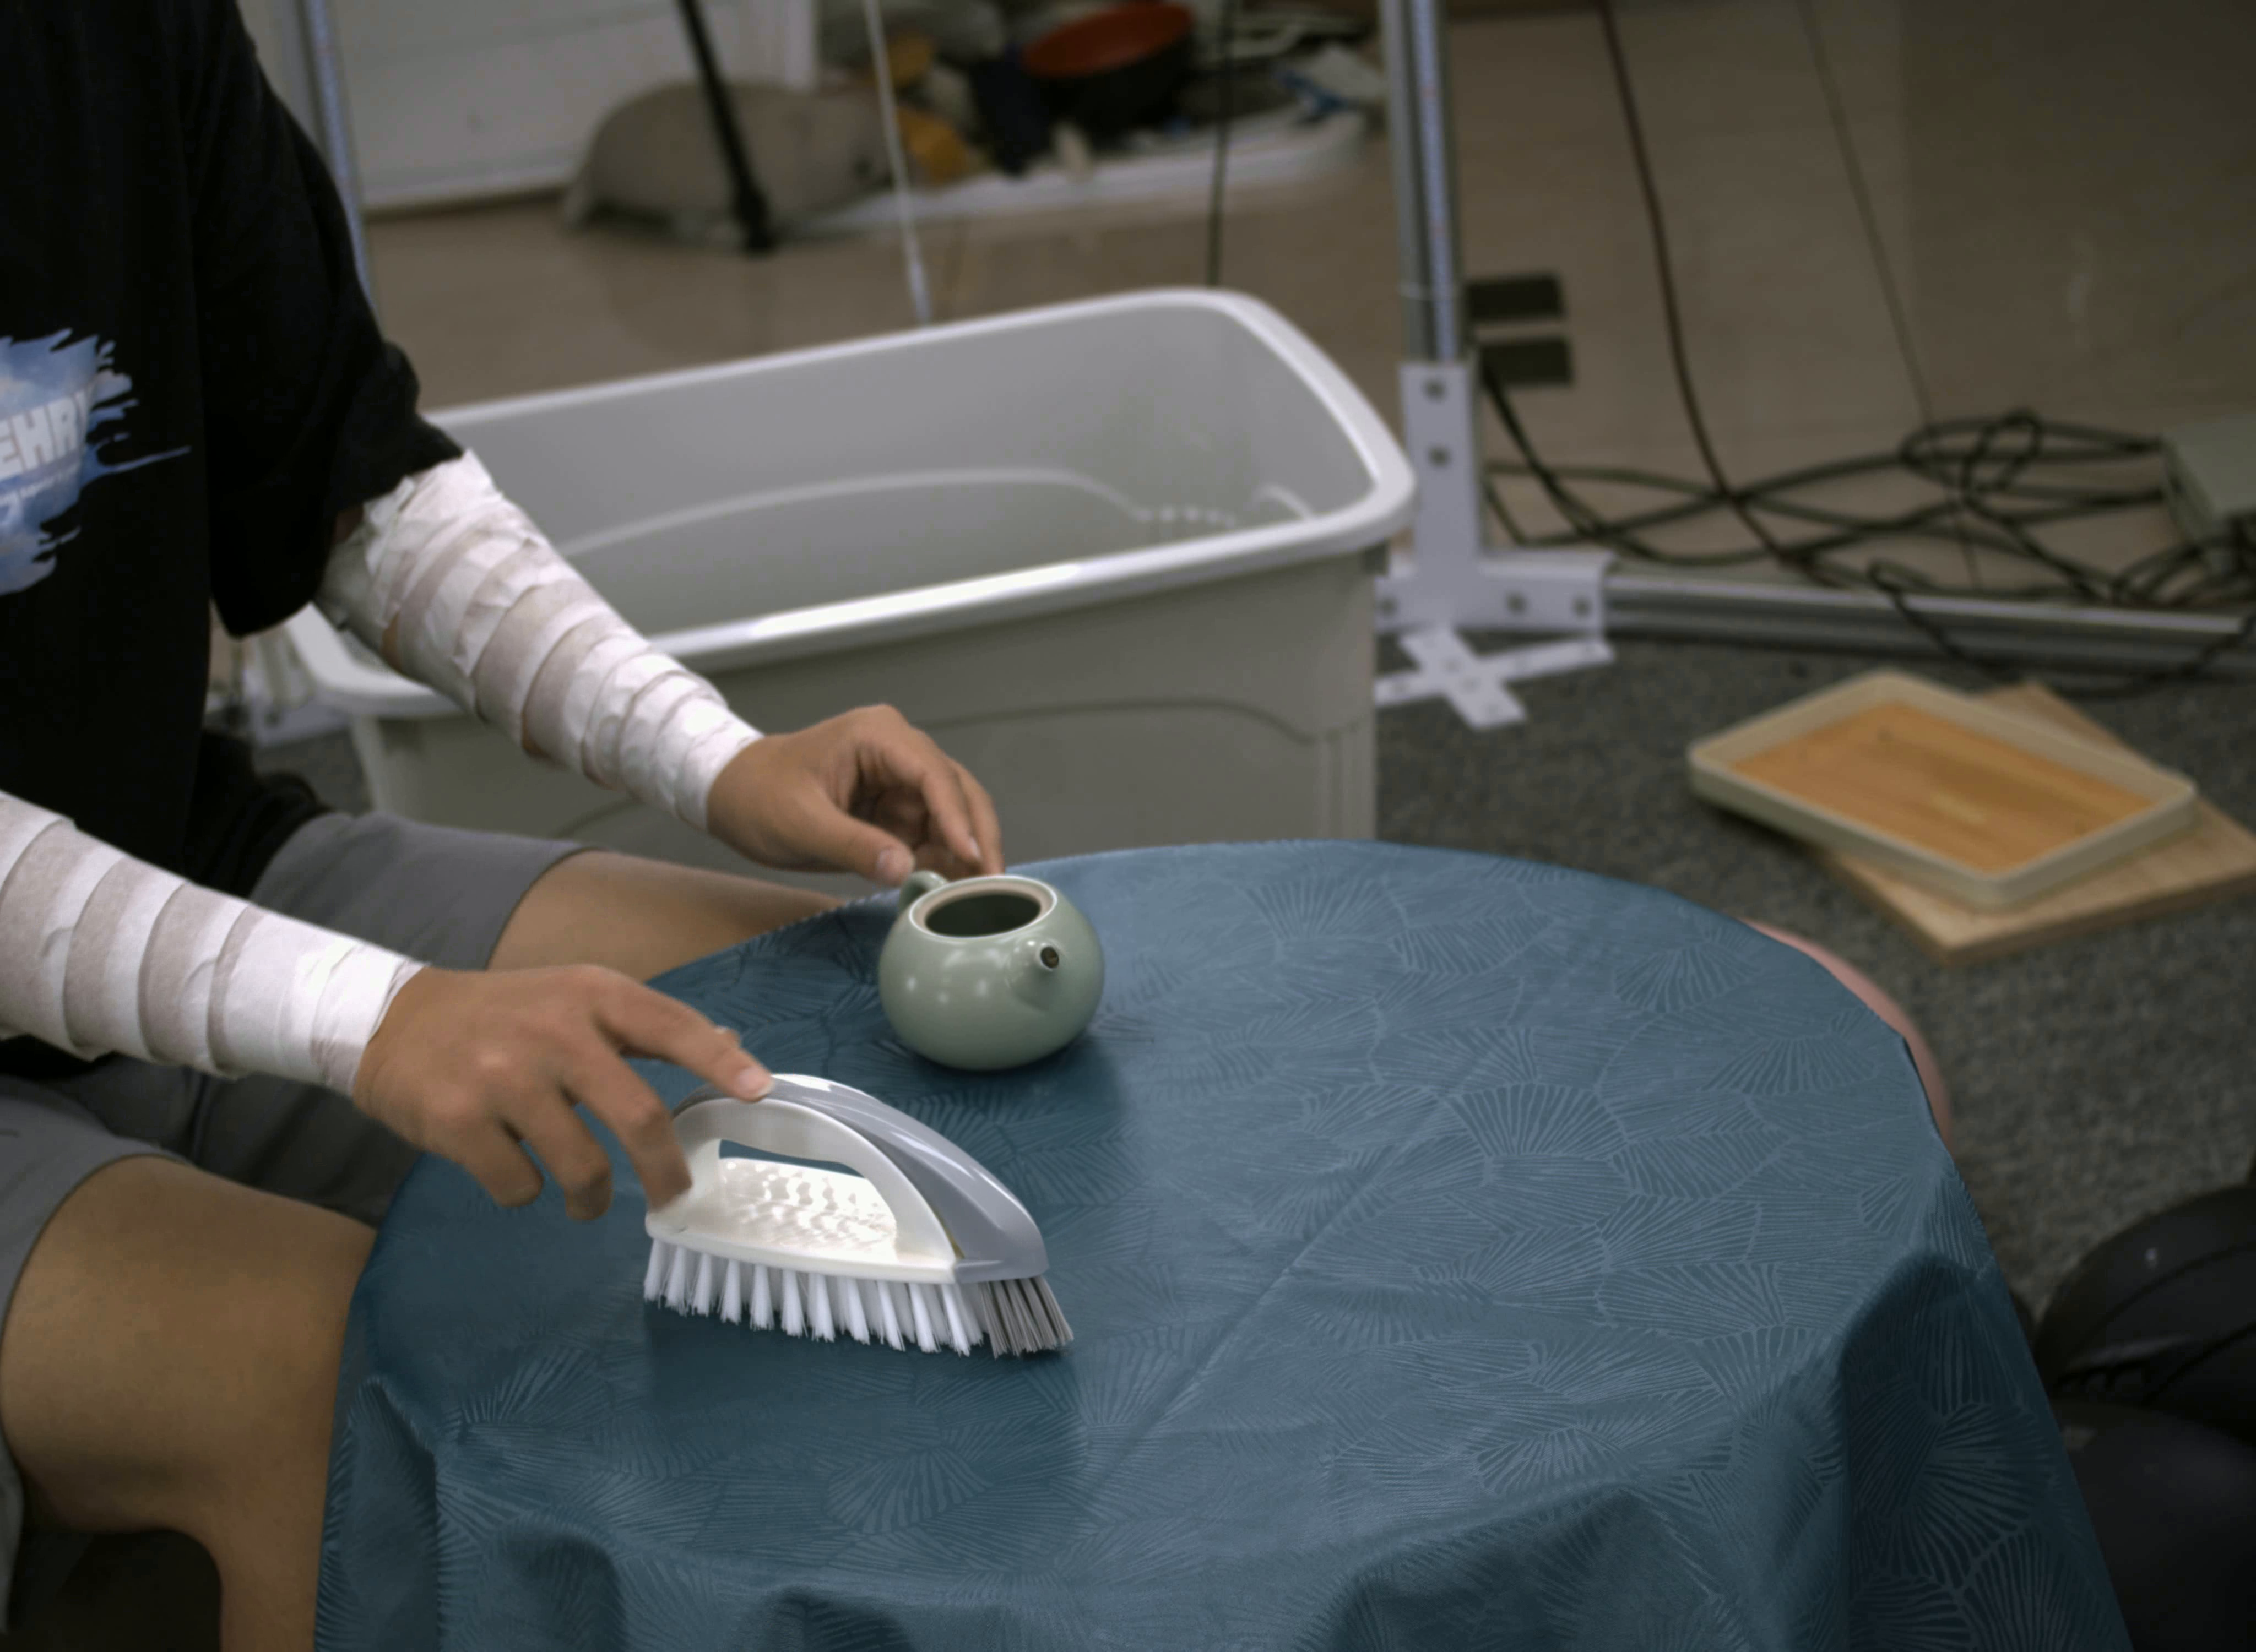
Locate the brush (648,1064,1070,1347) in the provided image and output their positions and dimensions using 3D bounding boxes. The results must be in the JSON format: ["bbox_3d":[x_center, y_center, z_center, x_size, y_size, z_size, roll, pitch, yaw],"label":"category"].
[{"bbox_3d":[-0.100,0.135,2.071,0.174,0.096,0.061,11,34,31],"label":"brush"}]

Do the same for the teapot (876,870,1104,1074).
[{"bbox_3d":[-0.059,0.057,2.269,0.091,0.062,0.127,-20,27,-21],"label":"teapot"}]
